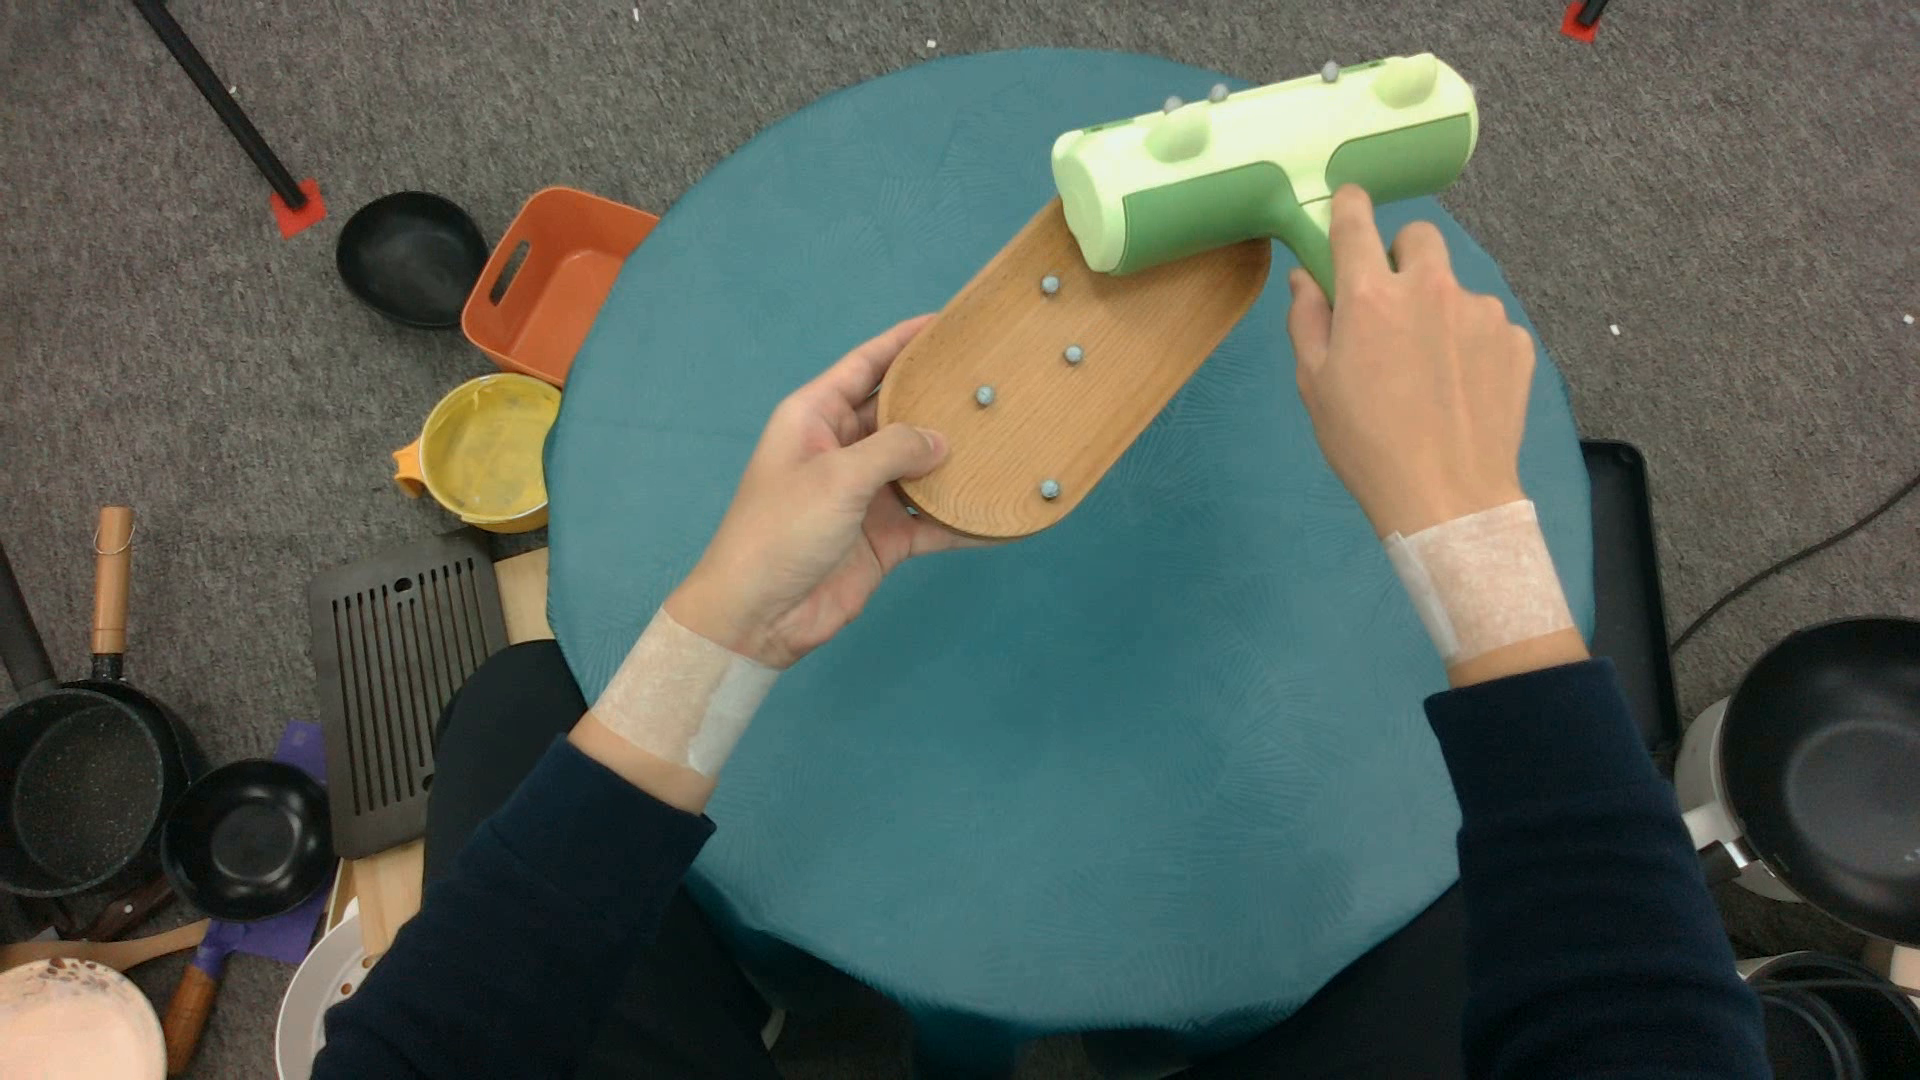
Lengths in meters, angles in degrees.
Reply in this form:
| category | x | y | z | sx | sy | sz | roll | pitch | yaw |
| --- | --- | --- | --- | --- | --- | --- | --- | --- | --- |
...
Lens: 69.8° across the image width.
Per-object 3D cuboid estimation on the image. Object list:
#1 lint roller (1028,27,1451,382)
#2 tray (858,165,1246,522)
| category | x | y | z | sx | sy | sz | roll | pitch | yaw |
| --- | --- | --- | --- | --- | --- | --- | --- | --- | --- |
| lint roller | 0.154 | -0.149 | 0.587 | 0.199 | 0.082 | 0.184 | -19 | 51 | -18 |
| tray | 0.045 | -0.103 | 0.614 | 0.101 | 0.020 | 0.232 | 40 | 67 | -2 |
